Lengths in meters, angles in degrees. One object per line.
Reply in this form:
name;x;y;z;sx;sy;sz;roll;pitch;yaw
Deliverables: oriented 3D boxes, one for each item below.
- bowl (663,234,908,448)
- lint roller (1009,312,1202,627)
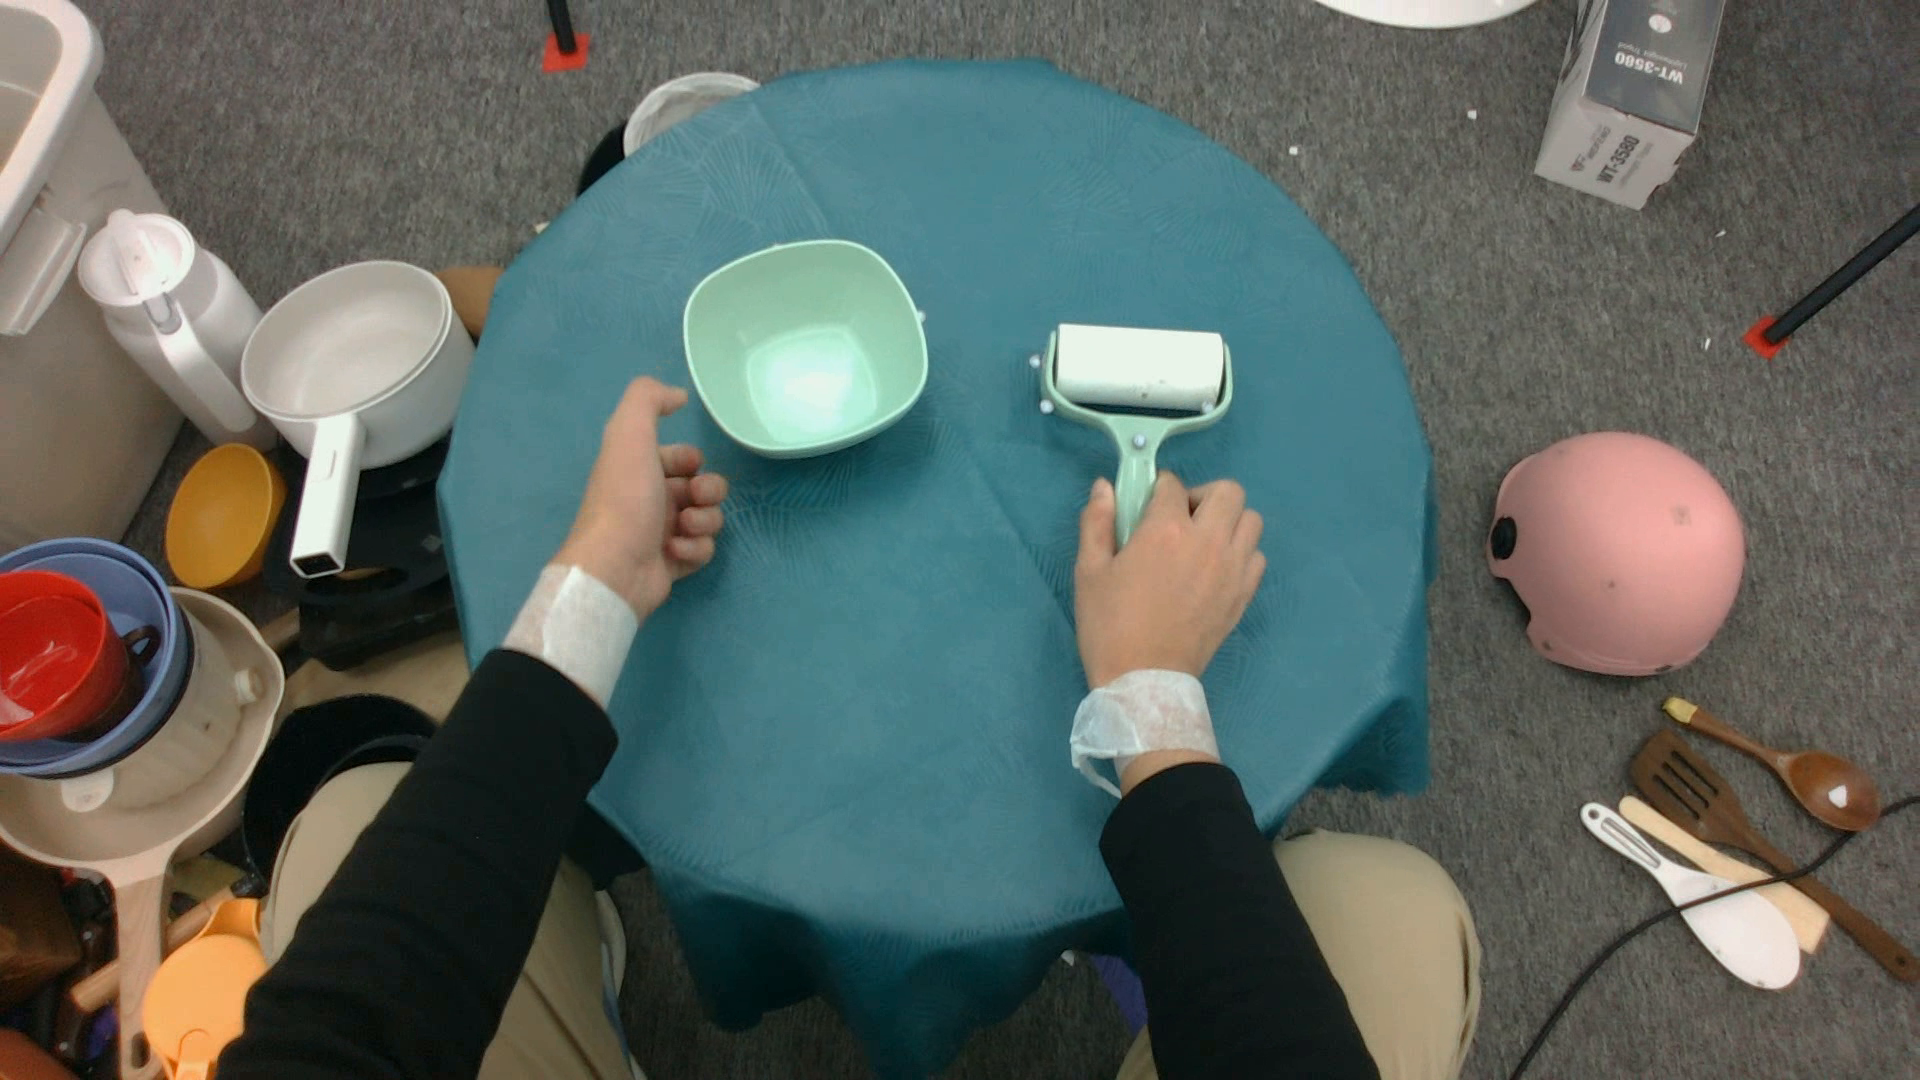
bowl;-0.104;-0.111;0.834;0.151;0.058;0.152;2;64;-3
lint roller;0.085;-0.047;0.822;0.116;0.048;0.198;4;67;-3
